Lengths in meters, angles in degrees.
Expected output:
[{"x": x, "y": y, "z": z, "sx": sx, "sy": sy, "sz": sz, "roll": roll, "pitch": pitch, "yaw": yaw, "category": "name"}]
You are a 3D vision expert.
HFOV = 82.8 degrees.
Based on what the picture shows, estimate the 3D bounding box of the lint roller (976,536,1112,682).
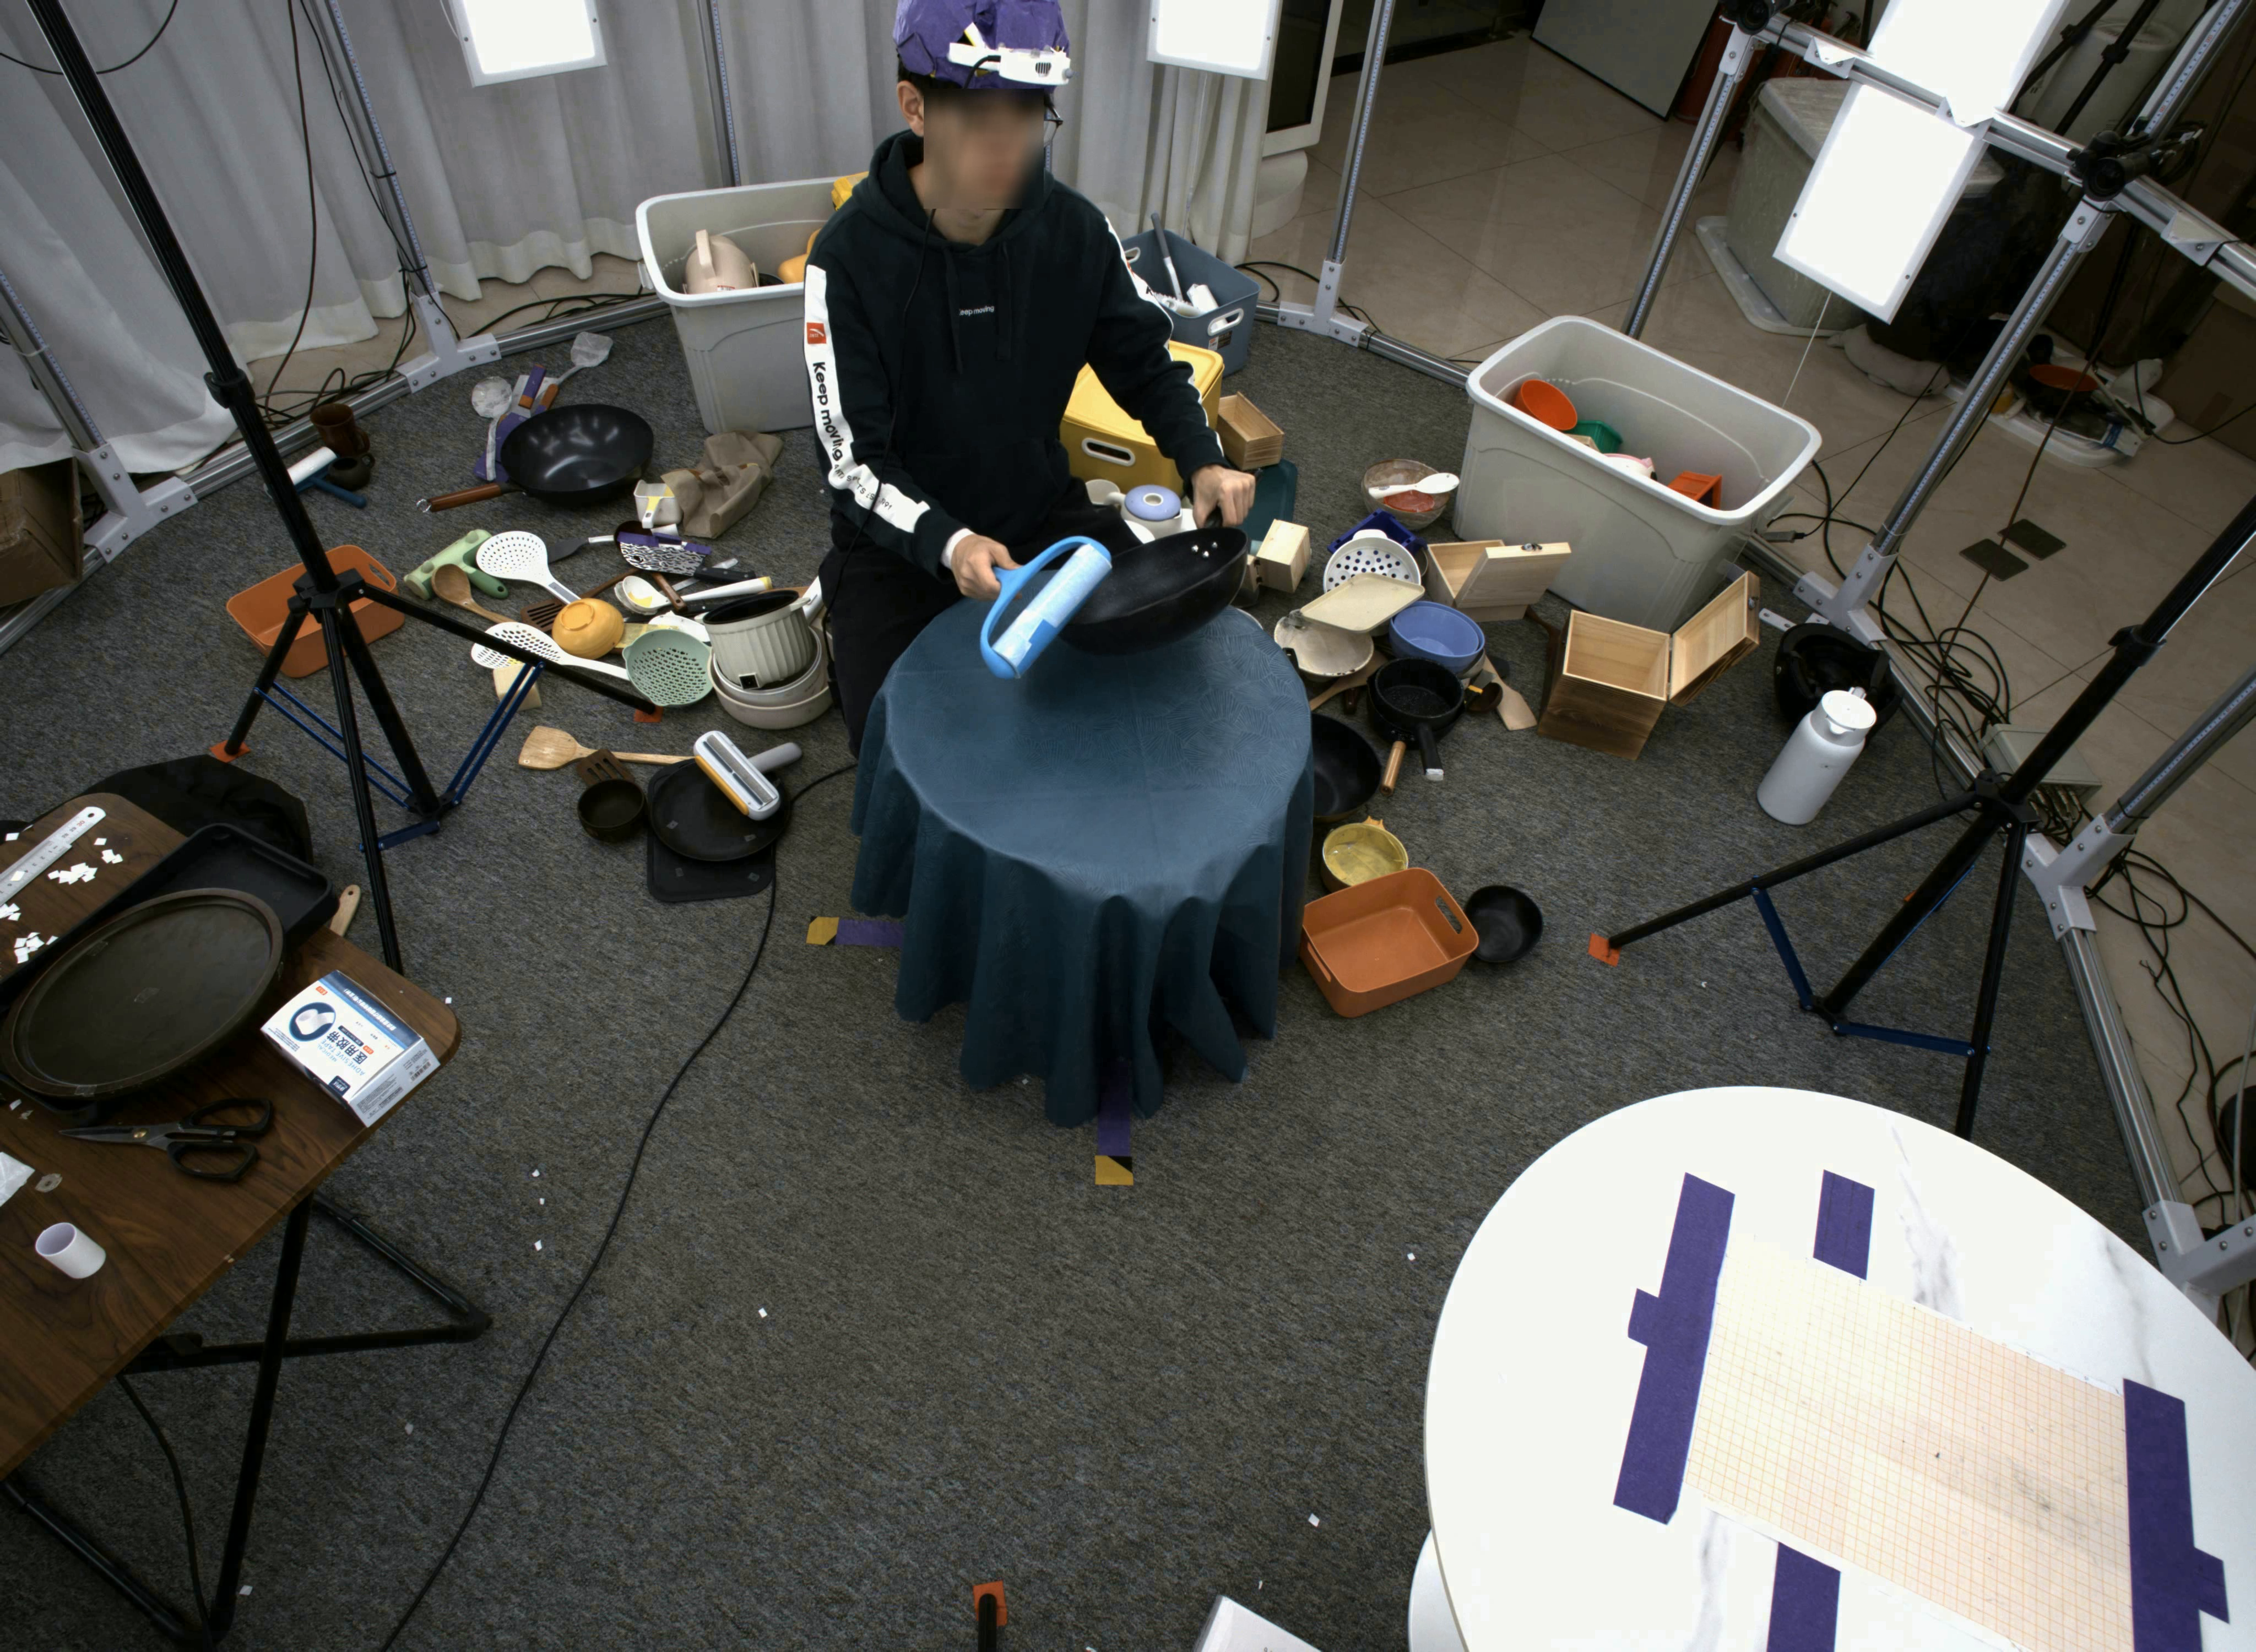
[{"x": -0.146, "y": -0.307, "z": 1.717, "sx": 0.182, "sy": 0.066, "sz": 0.231, "roll": 28, "pitch": 74, "yaw": 29, "category": "lint roller"}]

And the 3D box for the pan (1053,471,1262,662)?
[{"x": 0.076, "y": -0.363, "z": 1.836, "sx": 0.312, "sy": 0.109, "sz": 0.483, "roll": 3, "pitch": 35, "yaw": 41, "category": "pan"}]
